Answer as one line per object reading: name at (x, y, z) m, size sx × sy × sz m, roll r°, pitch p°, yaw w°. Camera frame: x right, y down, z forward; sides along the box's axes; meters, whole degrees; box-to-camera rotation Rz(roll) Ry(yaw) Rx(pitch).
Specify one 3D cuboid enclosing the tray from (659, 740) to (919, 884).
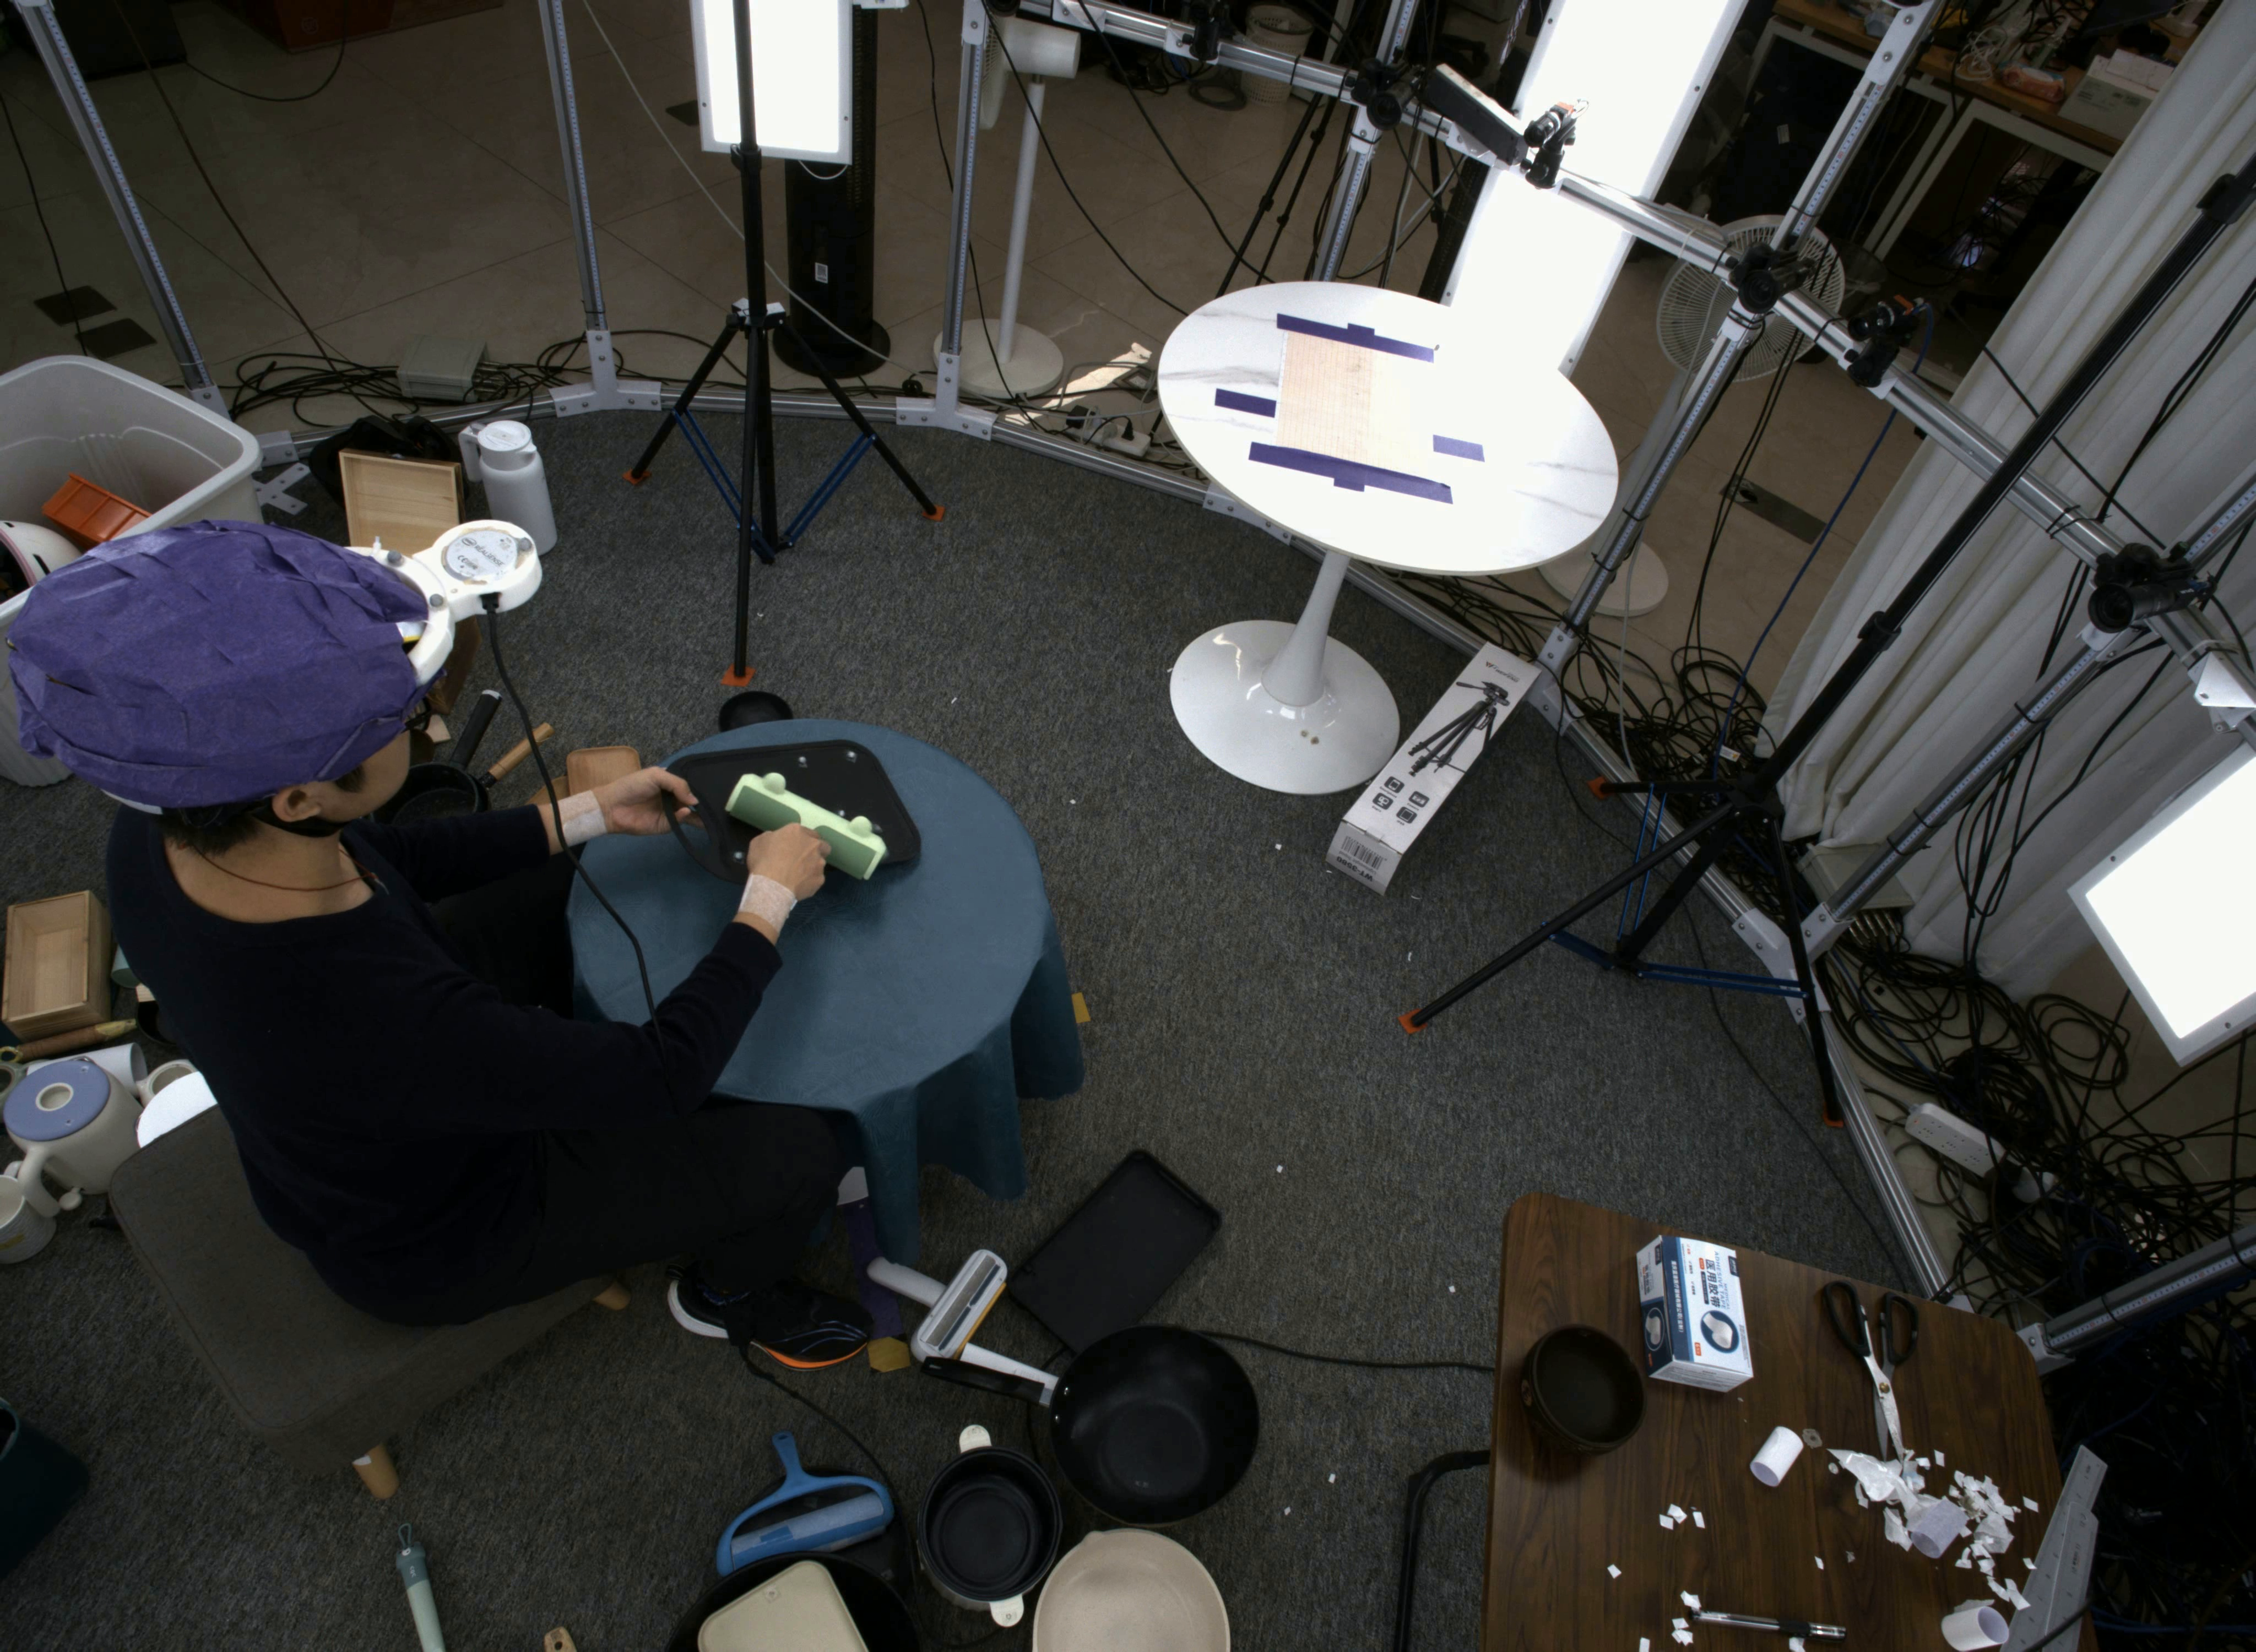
tray at (-0.427, -0.024, 1.635) m, size 0.330 × 0.010 × 0.207 m, roll -8°, pitch 58°, yaw -45°

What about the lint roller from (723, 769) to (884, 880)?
lint roller at (-0.388, 0.004, 1.543) m, size 0.201 × 0.083 × 0.179 m, roll 27°, pitch 9°, yaw -15°
